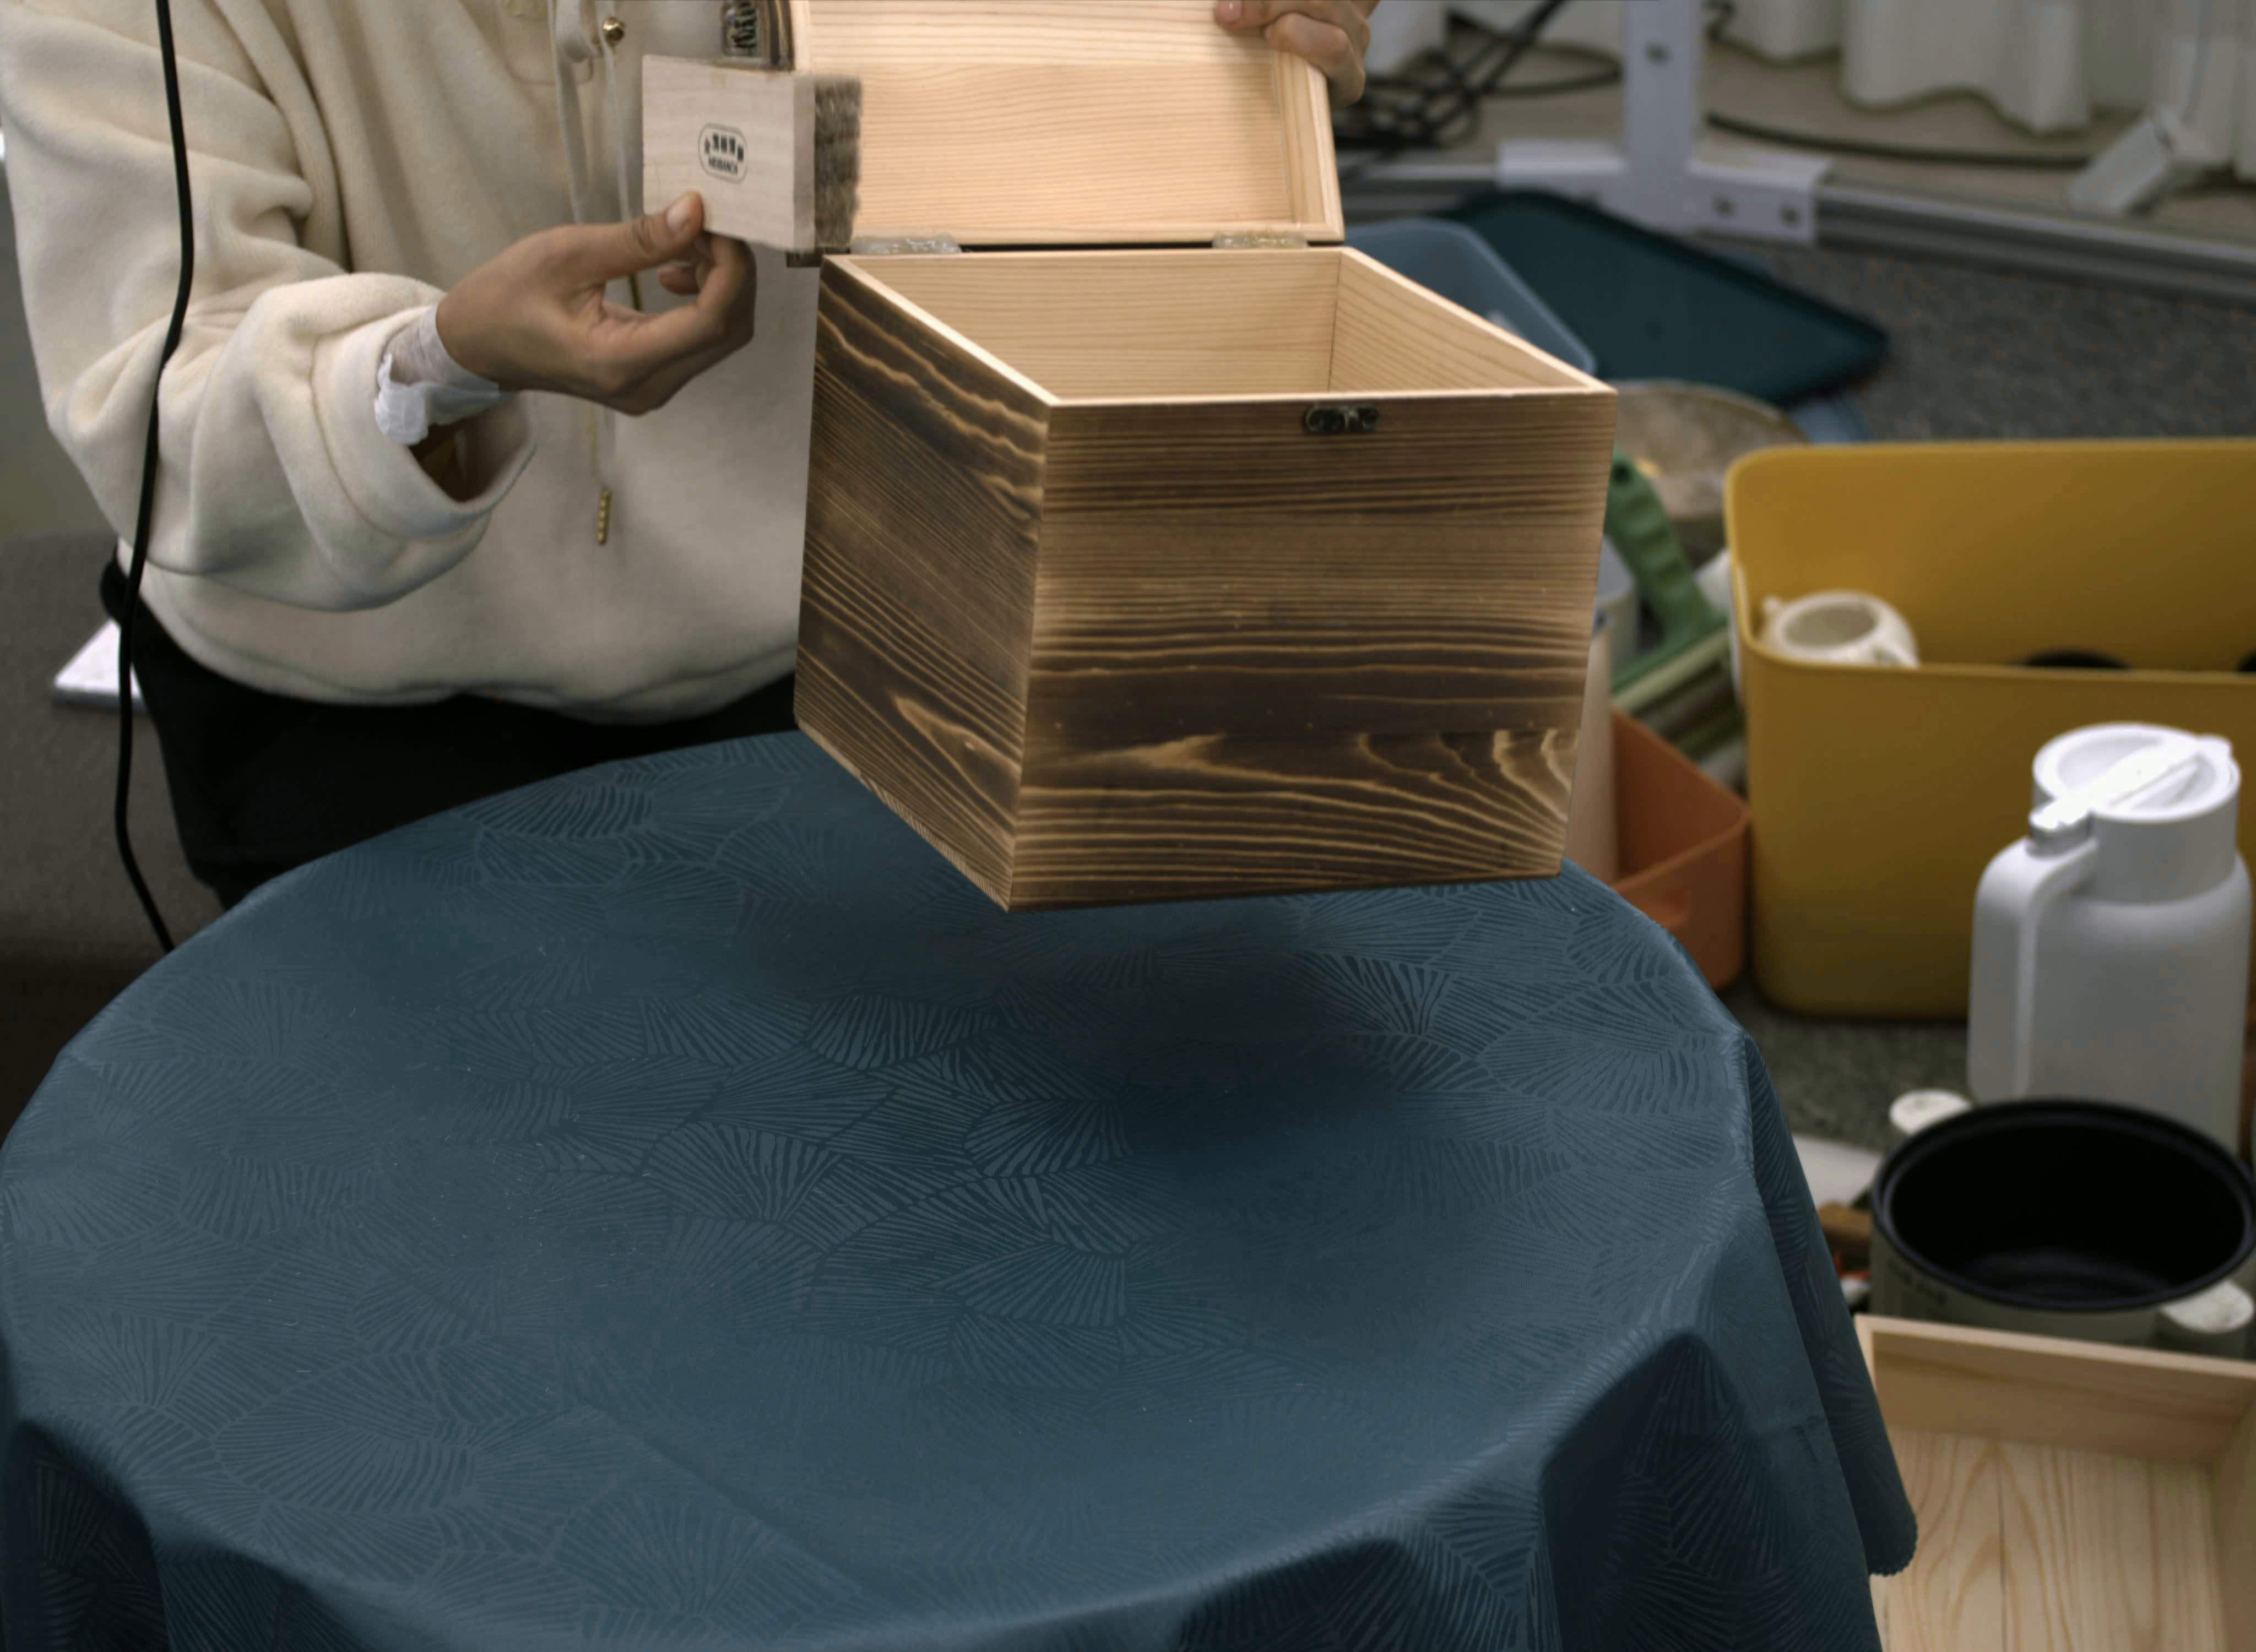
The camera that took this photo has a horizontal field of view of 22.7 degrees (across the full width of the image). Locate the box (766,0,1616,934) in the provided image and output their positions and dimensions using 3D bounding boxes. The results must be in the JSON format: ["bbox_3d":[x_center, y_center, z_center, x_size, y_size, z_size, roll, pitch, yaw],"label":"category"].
[{"bbox_3d":[0.006,-0.197,1.907,0.209,0.373,0.323,-4,20,-24],"label":"box"}]

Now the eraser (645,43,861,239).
[{"bbox_3d":[-0.129,-0.235,1.935,0.029,0.057,0.139,-3,12,-24],"label":"eraser"}]
